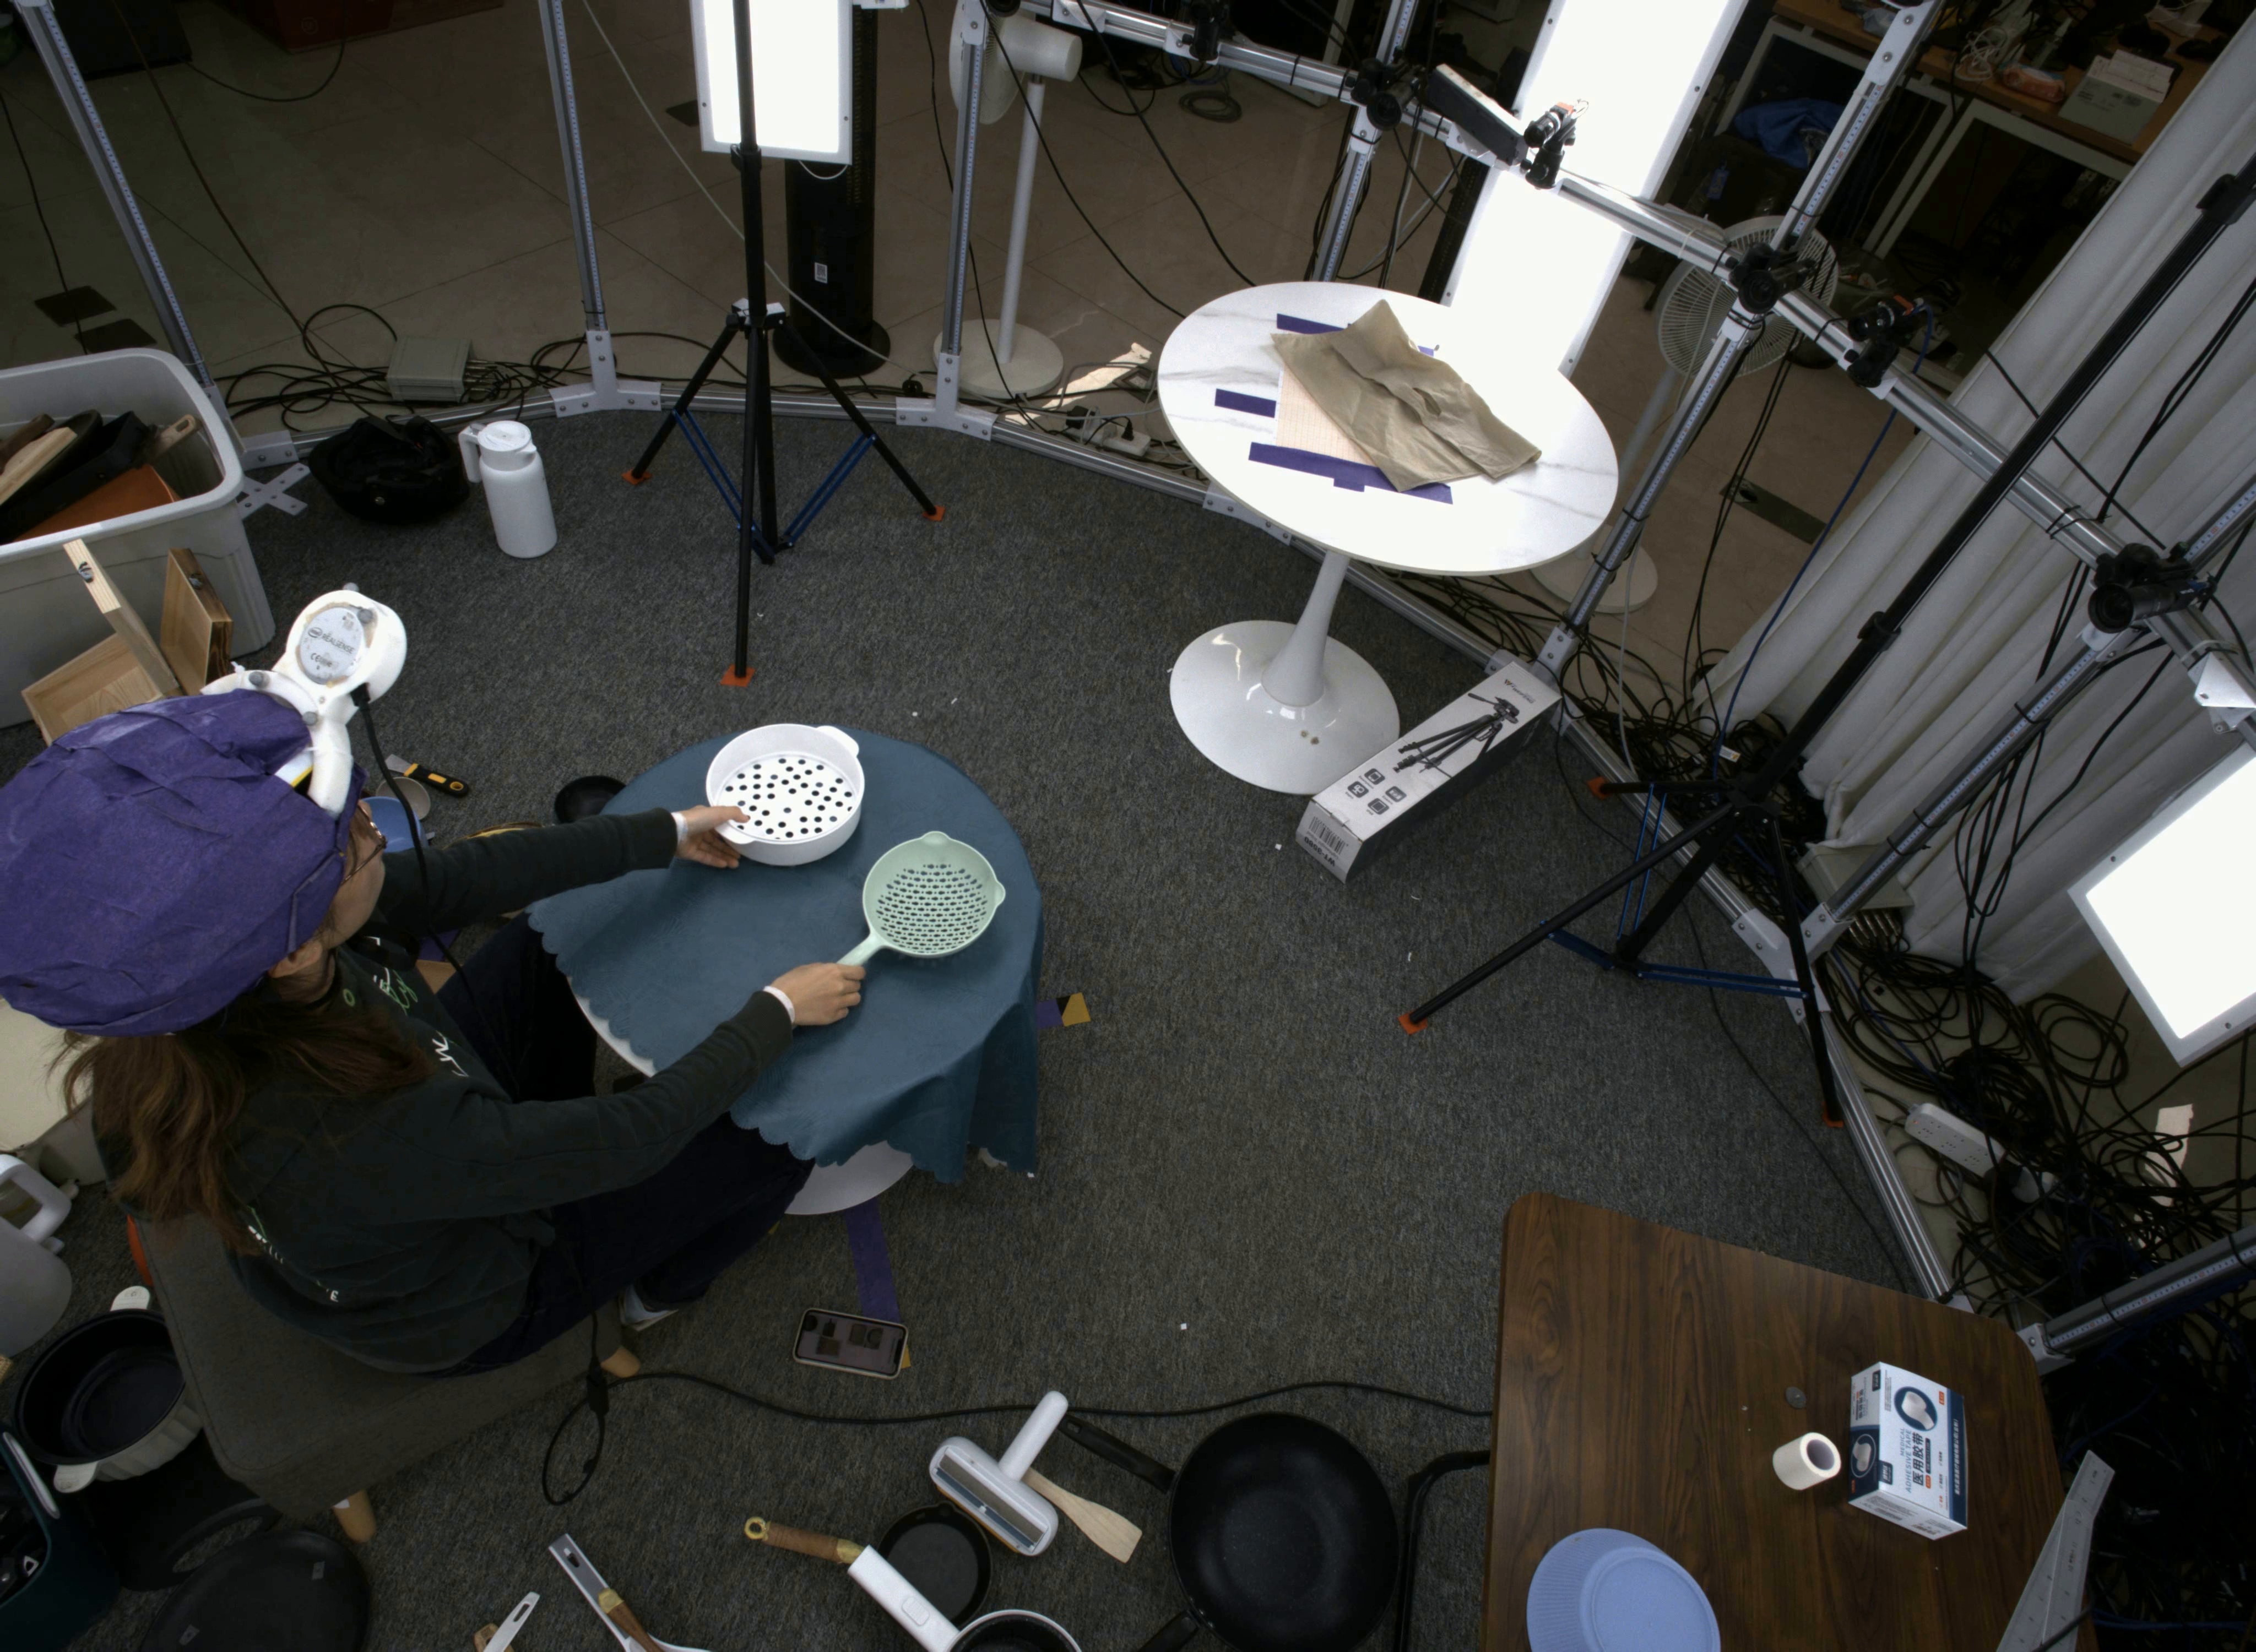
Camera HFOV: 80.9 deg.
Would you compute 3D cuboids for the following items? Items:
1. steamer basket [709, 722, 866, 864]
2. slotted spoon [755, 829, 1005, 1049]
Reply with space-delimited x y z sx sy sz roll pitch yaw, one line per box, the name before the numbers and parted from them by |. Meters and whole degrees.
steamer basket | -0.448 -0.043 1.713 0.198 0.071 0.230 32 53 12
slotted spoon | -0.315 0.146 1.606 0.165 0.077 0.359 41 55 18
